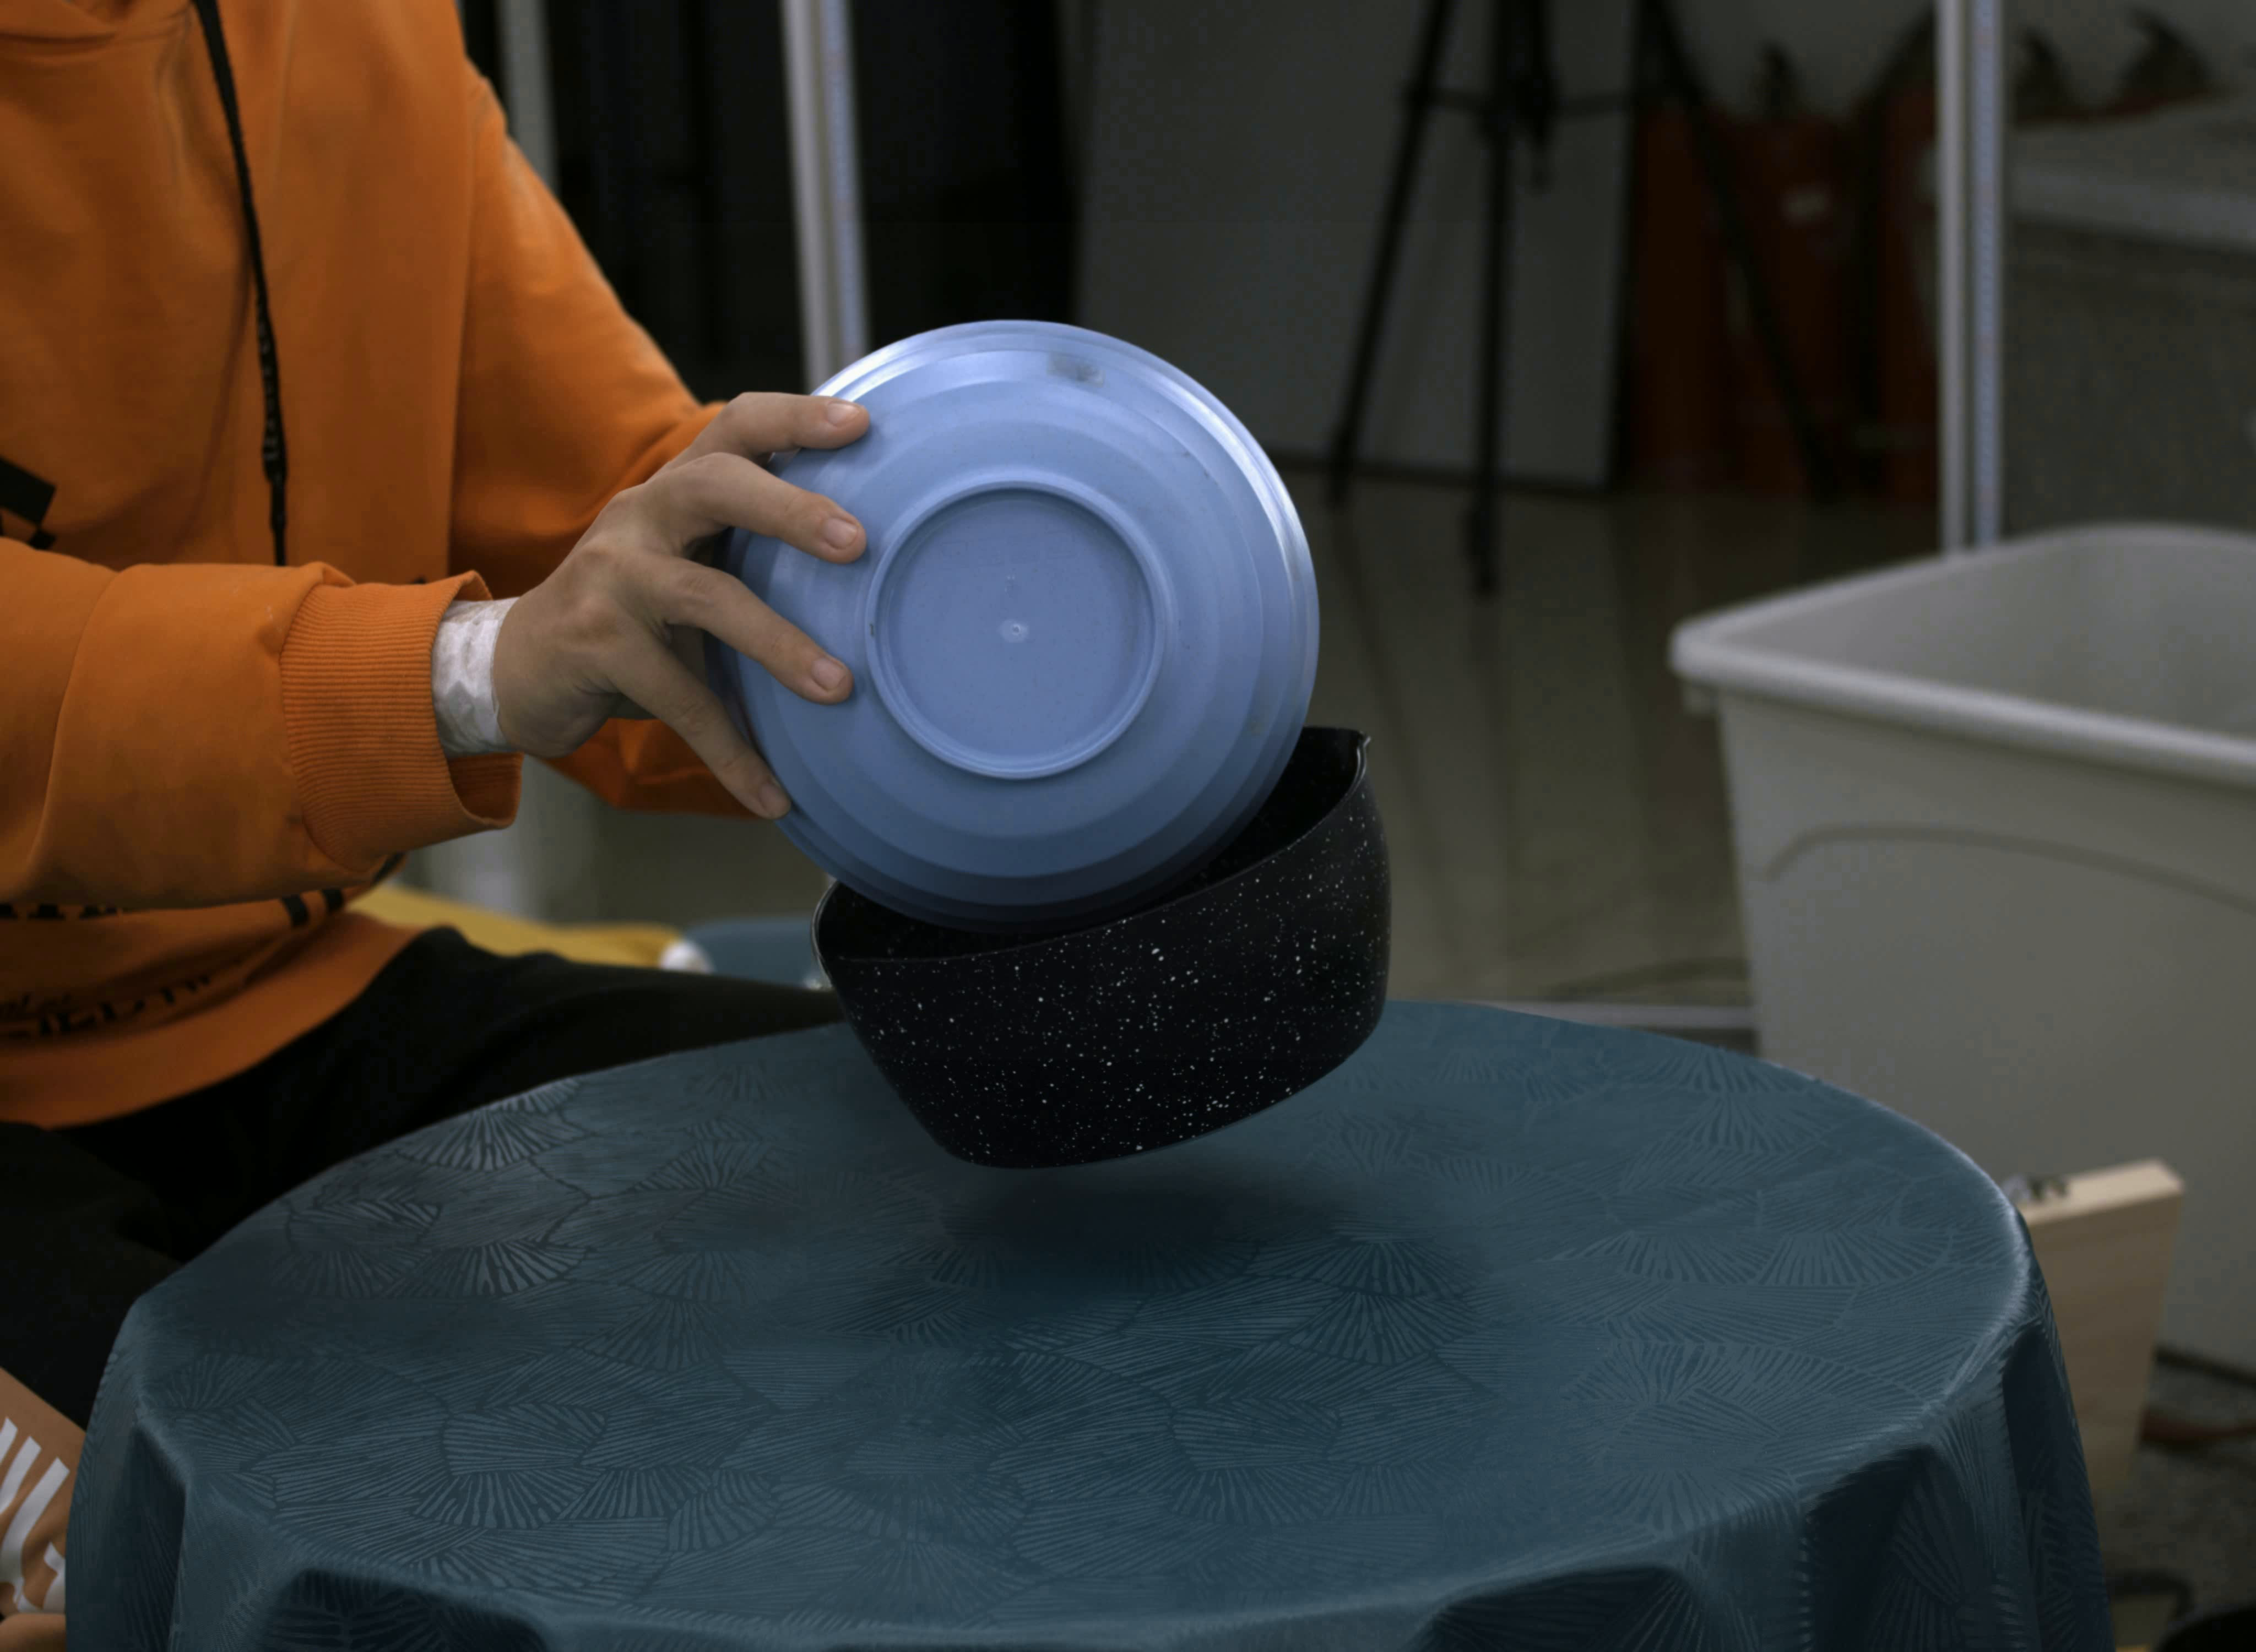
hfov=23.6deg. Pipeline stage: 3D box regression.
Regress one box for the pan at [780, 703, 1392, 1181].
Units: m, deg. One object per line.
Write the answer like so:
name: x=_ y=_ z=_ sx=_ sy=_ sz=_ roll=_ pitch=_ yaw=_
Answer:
pan: x=-0.033 y=0.017 z=1.793 sx=0.204 sy=0.109 sz=0.346 roll=-24 pitch=19 yaw=-15

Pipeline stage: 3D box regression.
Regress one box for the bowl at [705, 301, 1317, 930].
bowl: x=-0.036 y=-0.064 z=1.666 sx=0.194 sy=0.199 sz=0.095 roll=-4 pitch=2 yaw=0
